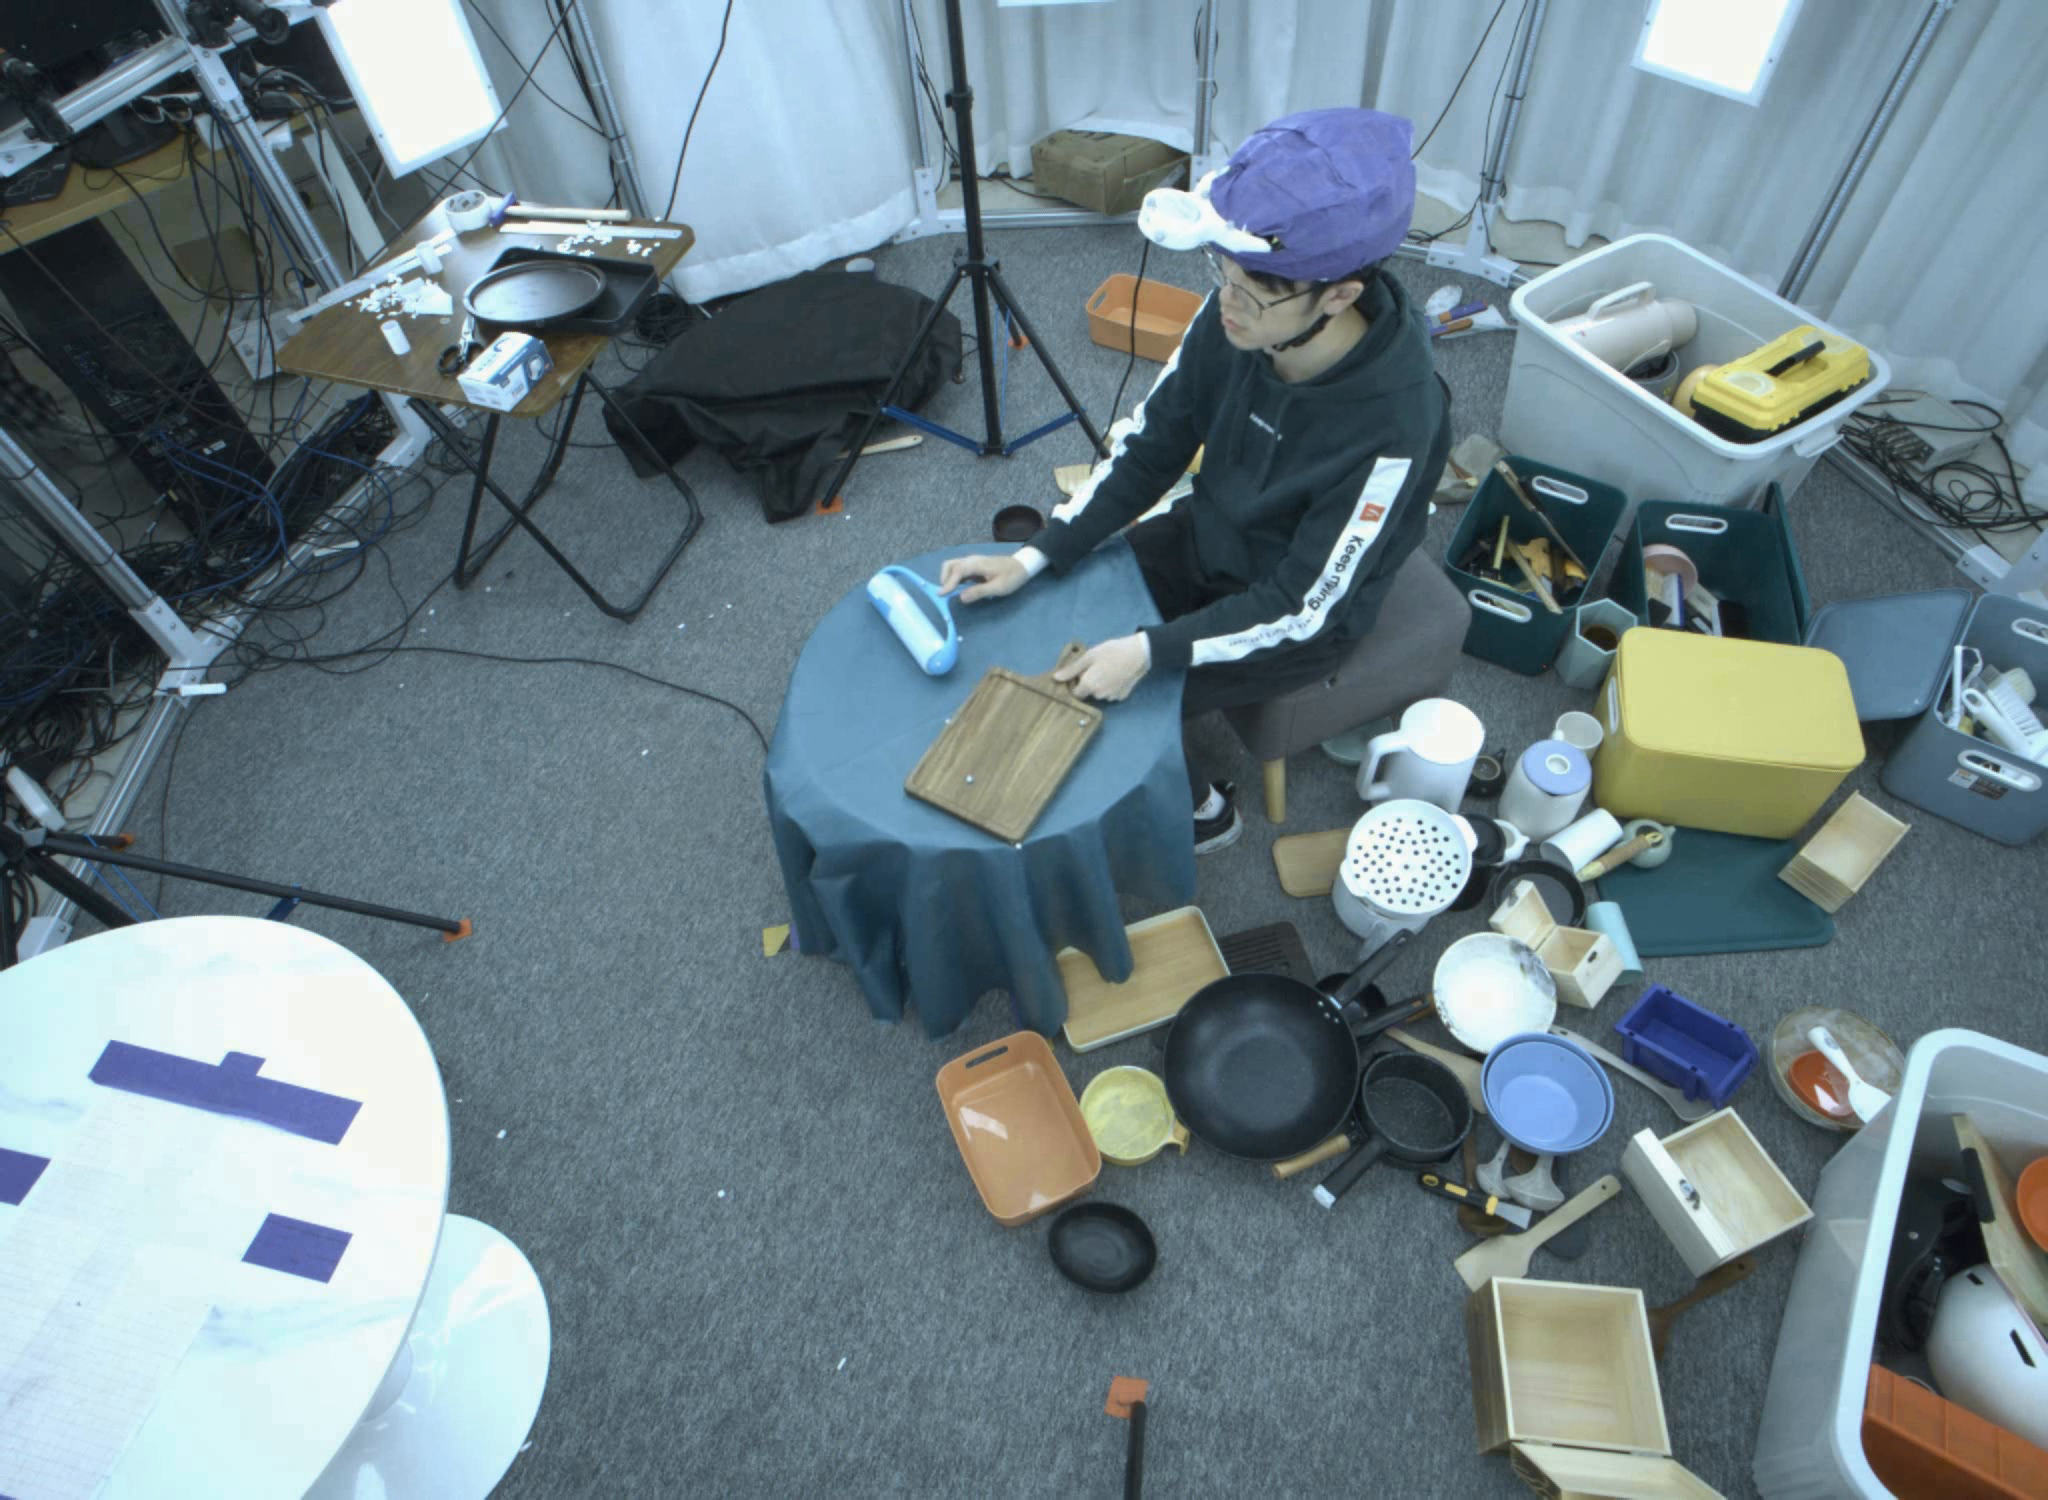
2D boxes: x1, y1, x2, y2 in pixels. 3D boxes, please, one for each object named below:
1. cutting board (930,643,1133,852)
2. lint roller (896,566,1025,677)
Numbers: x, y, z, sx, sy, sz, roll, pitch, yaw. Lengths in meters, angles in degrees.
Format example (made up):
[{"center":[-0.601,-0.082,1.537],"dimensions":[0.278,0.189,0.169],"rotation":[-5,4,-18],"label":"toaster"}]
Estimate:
[{"center":[0.039,-0.027,1.779],"dimensions":[0.198,0.023,0.353],"rotation":[26,62,18],"label":"cutting board"},{"center":[-0.082,-0.223,1.909],"dimensions":[0.181,0.069,0.224],"rotation":[-30,57,-16],"label":"lint roller"}]
